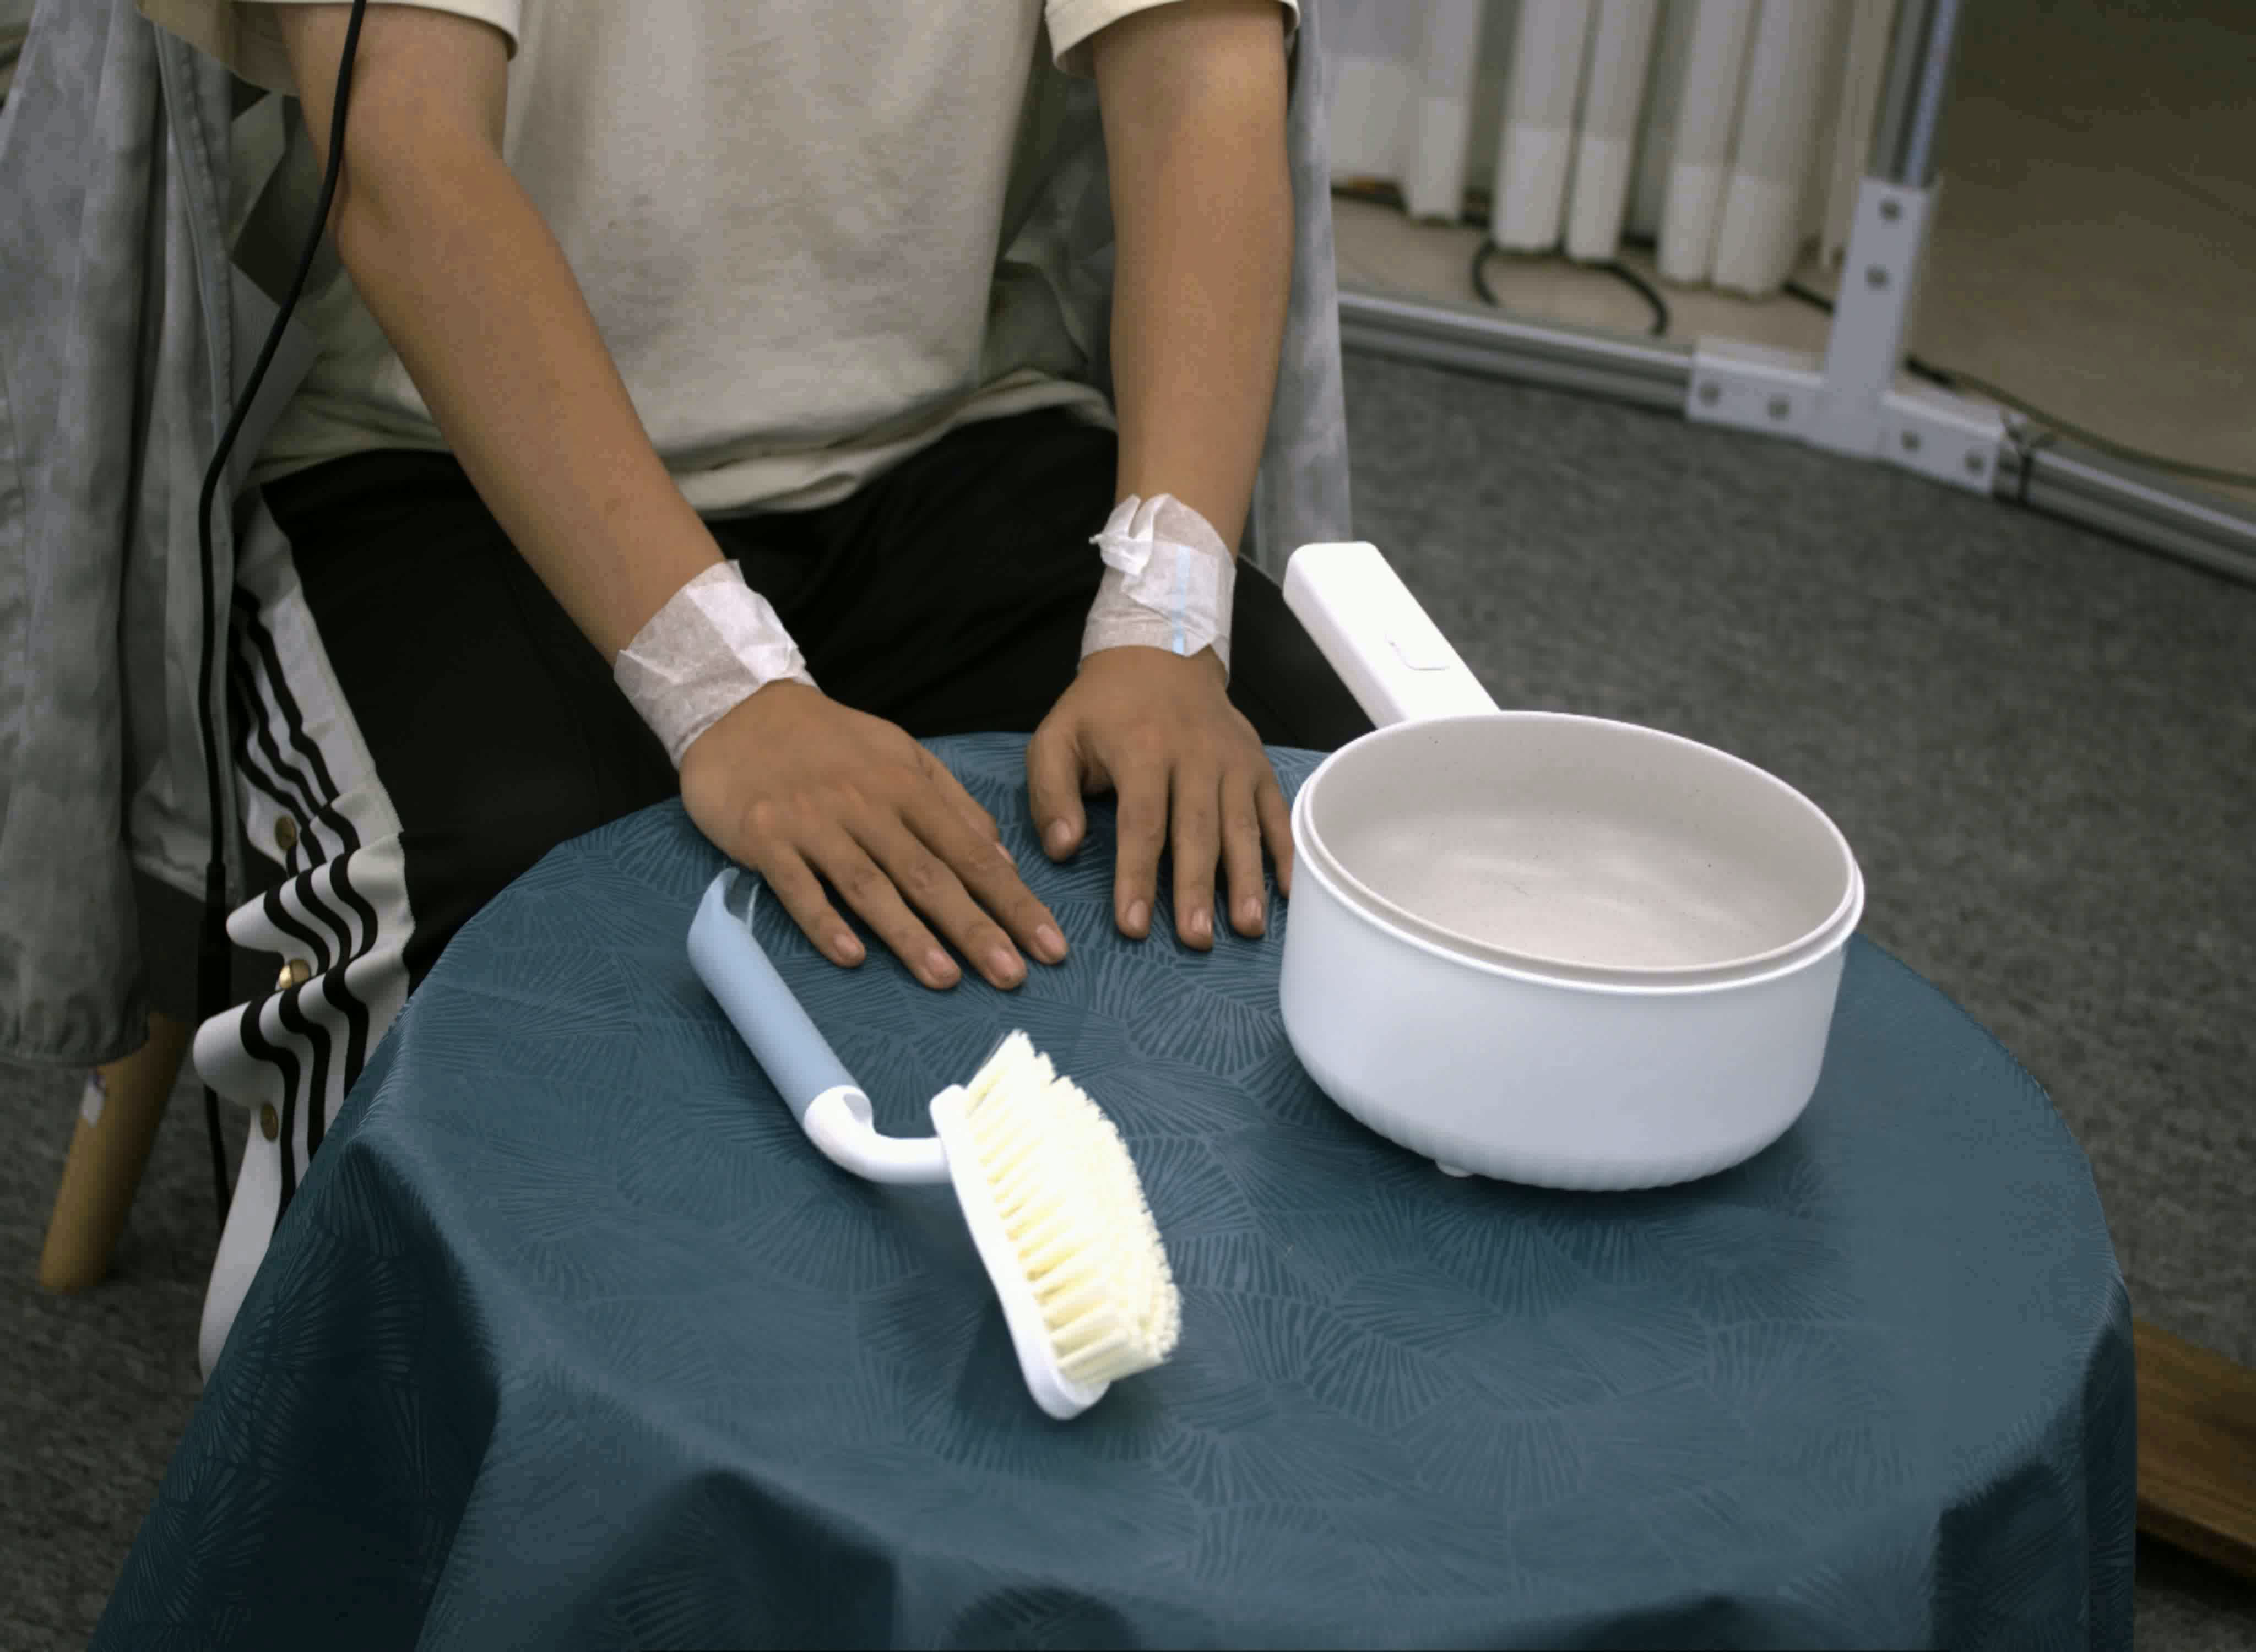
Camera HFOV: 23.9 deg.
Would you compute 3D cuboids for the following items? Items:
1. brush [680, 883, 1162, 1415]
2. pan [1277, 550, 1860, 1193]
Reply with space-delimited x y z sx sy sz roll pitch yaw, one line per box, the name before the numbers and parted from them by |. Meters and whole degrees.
brush | -0.065 0.080 1.785 0.084 0.083 0.328 -11 32 -20
pan | 0.128 0.014 1.943 0.200 0.102 0.358 -3 28 -18
